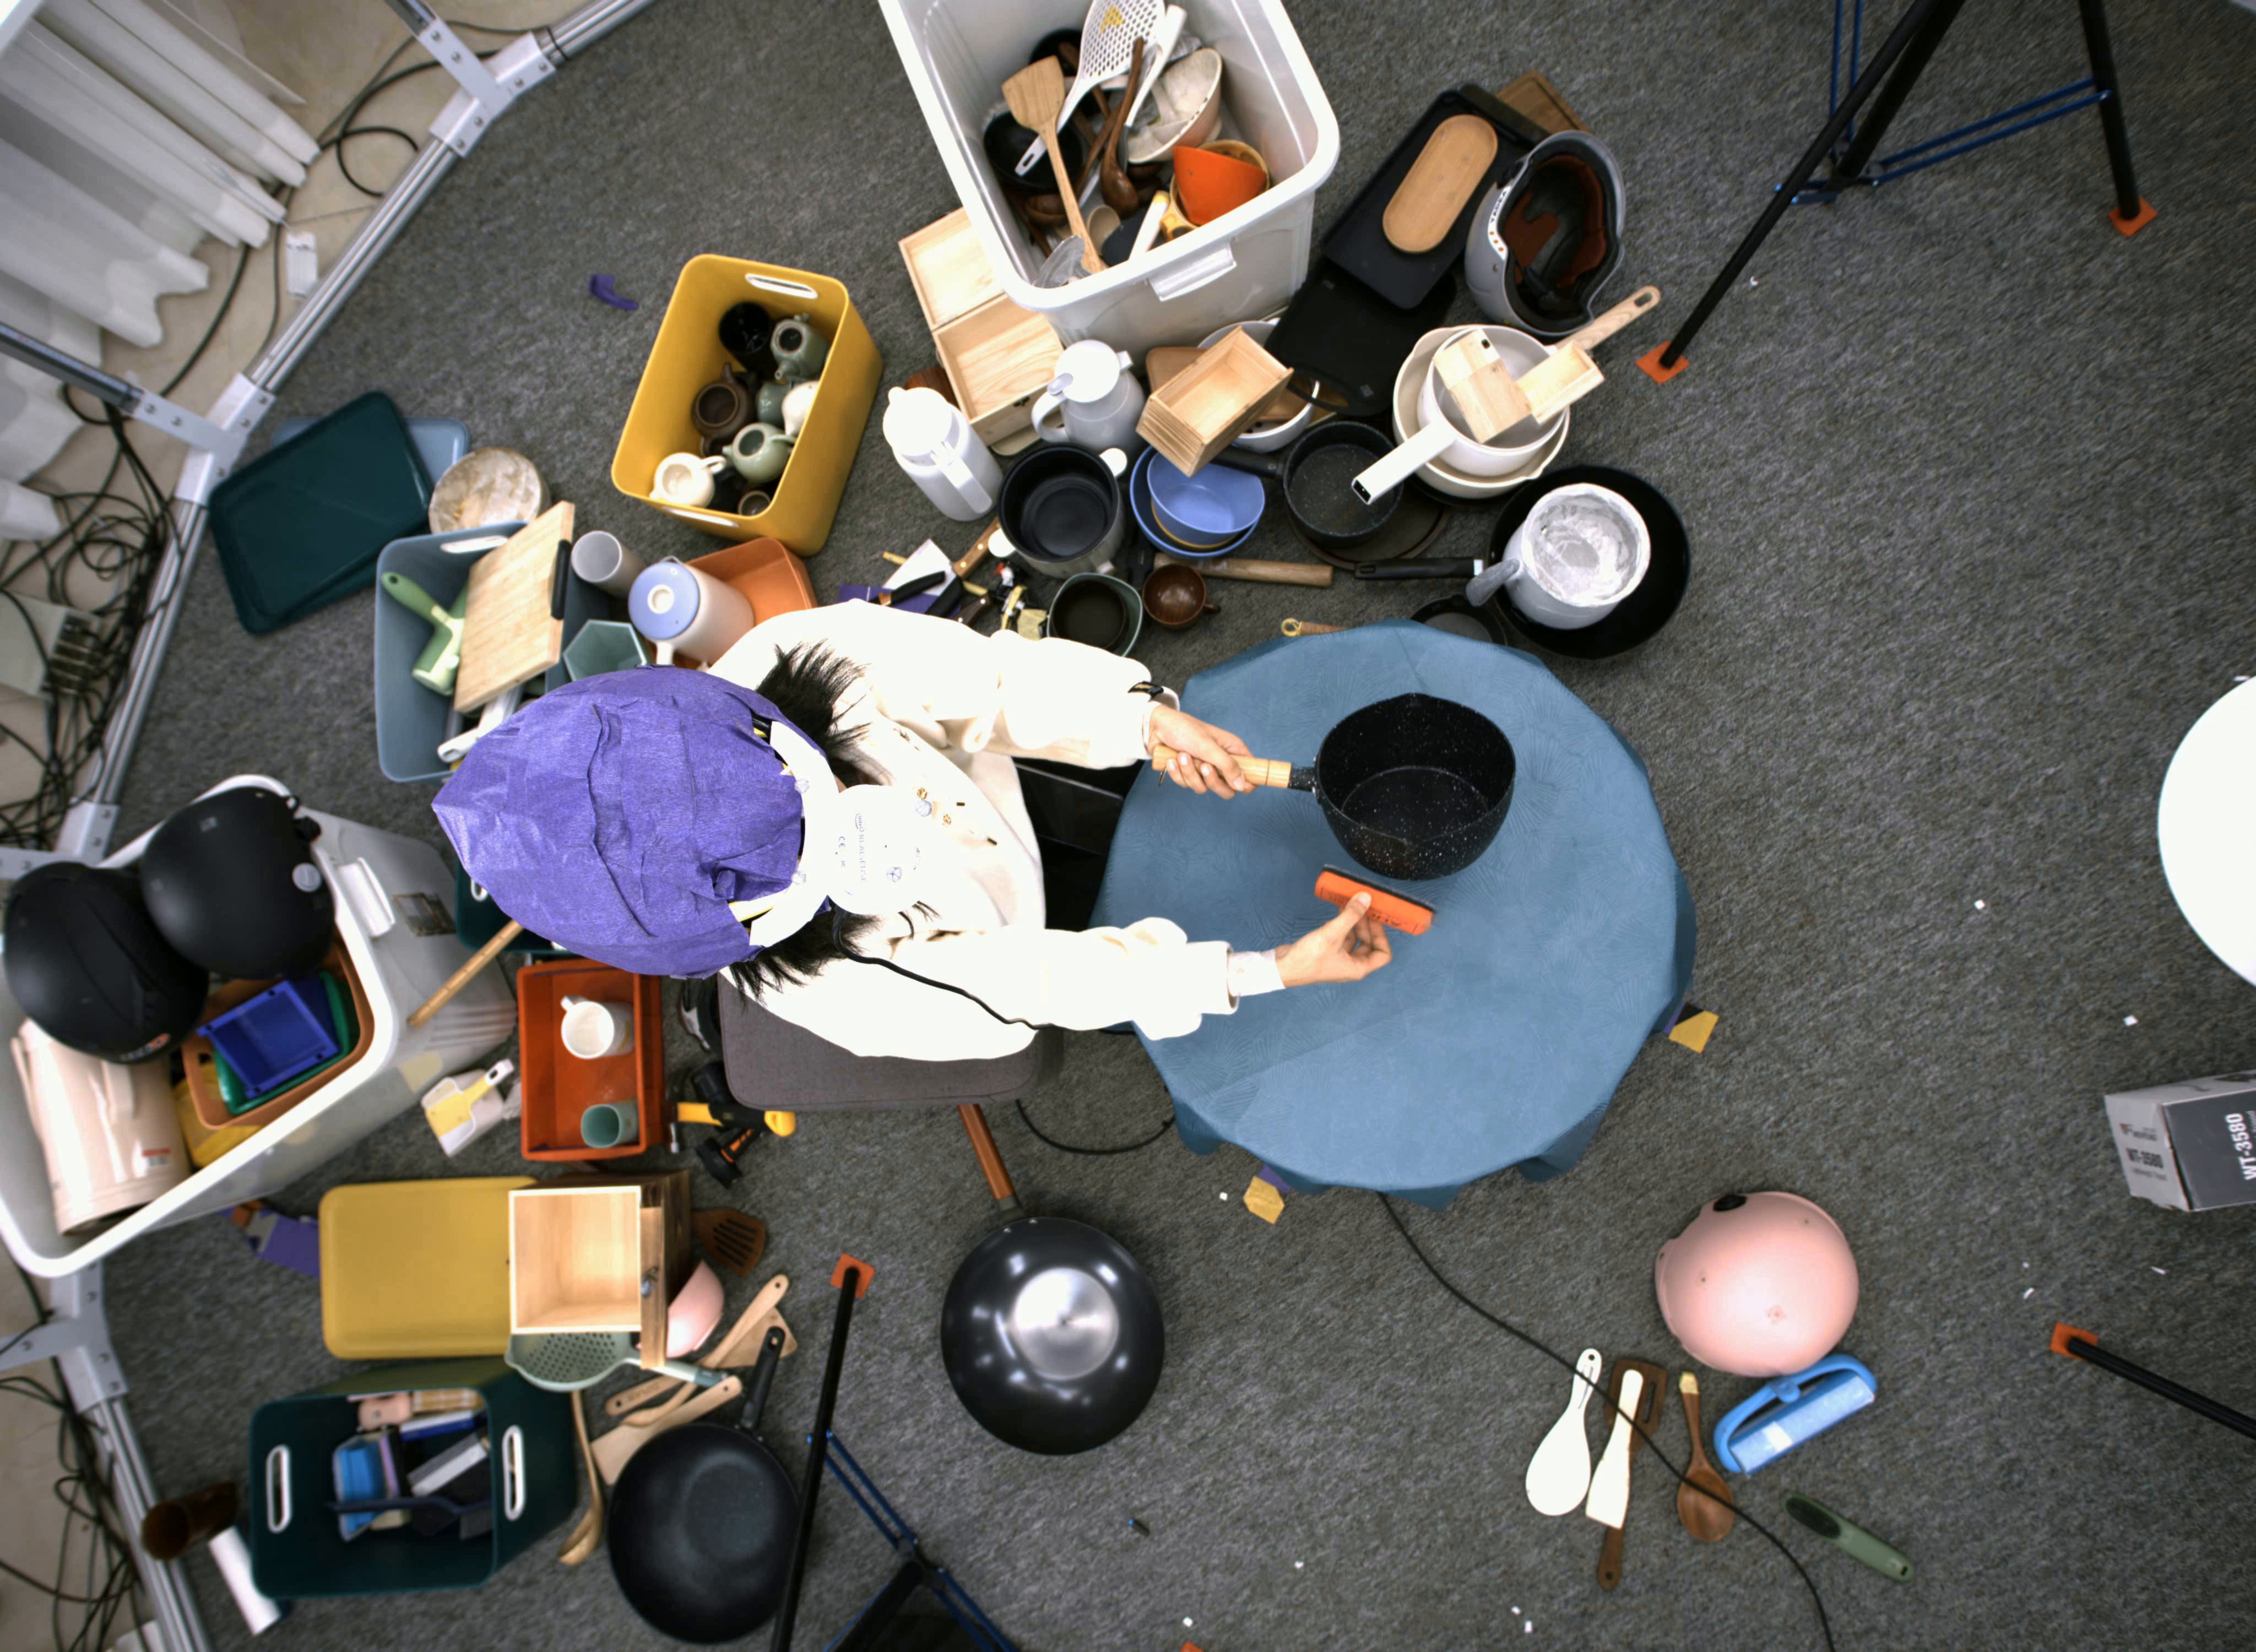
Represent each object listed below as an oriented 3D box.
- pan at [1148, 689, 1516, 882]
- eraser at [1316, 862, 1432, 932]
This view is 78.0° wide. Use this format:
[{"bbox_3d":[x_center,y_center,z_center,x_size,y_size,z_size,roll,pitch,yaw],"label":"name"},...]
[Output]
[{"bbox_3d":[0.193,-0.037,1.321,0.344,0.111,0.202,0,50,10],"label":"pan"},{"bbox_3d":[0.233,0.067,1.315,0.108,0.059,0.022,21,80,10],"label":"eraser"}]
